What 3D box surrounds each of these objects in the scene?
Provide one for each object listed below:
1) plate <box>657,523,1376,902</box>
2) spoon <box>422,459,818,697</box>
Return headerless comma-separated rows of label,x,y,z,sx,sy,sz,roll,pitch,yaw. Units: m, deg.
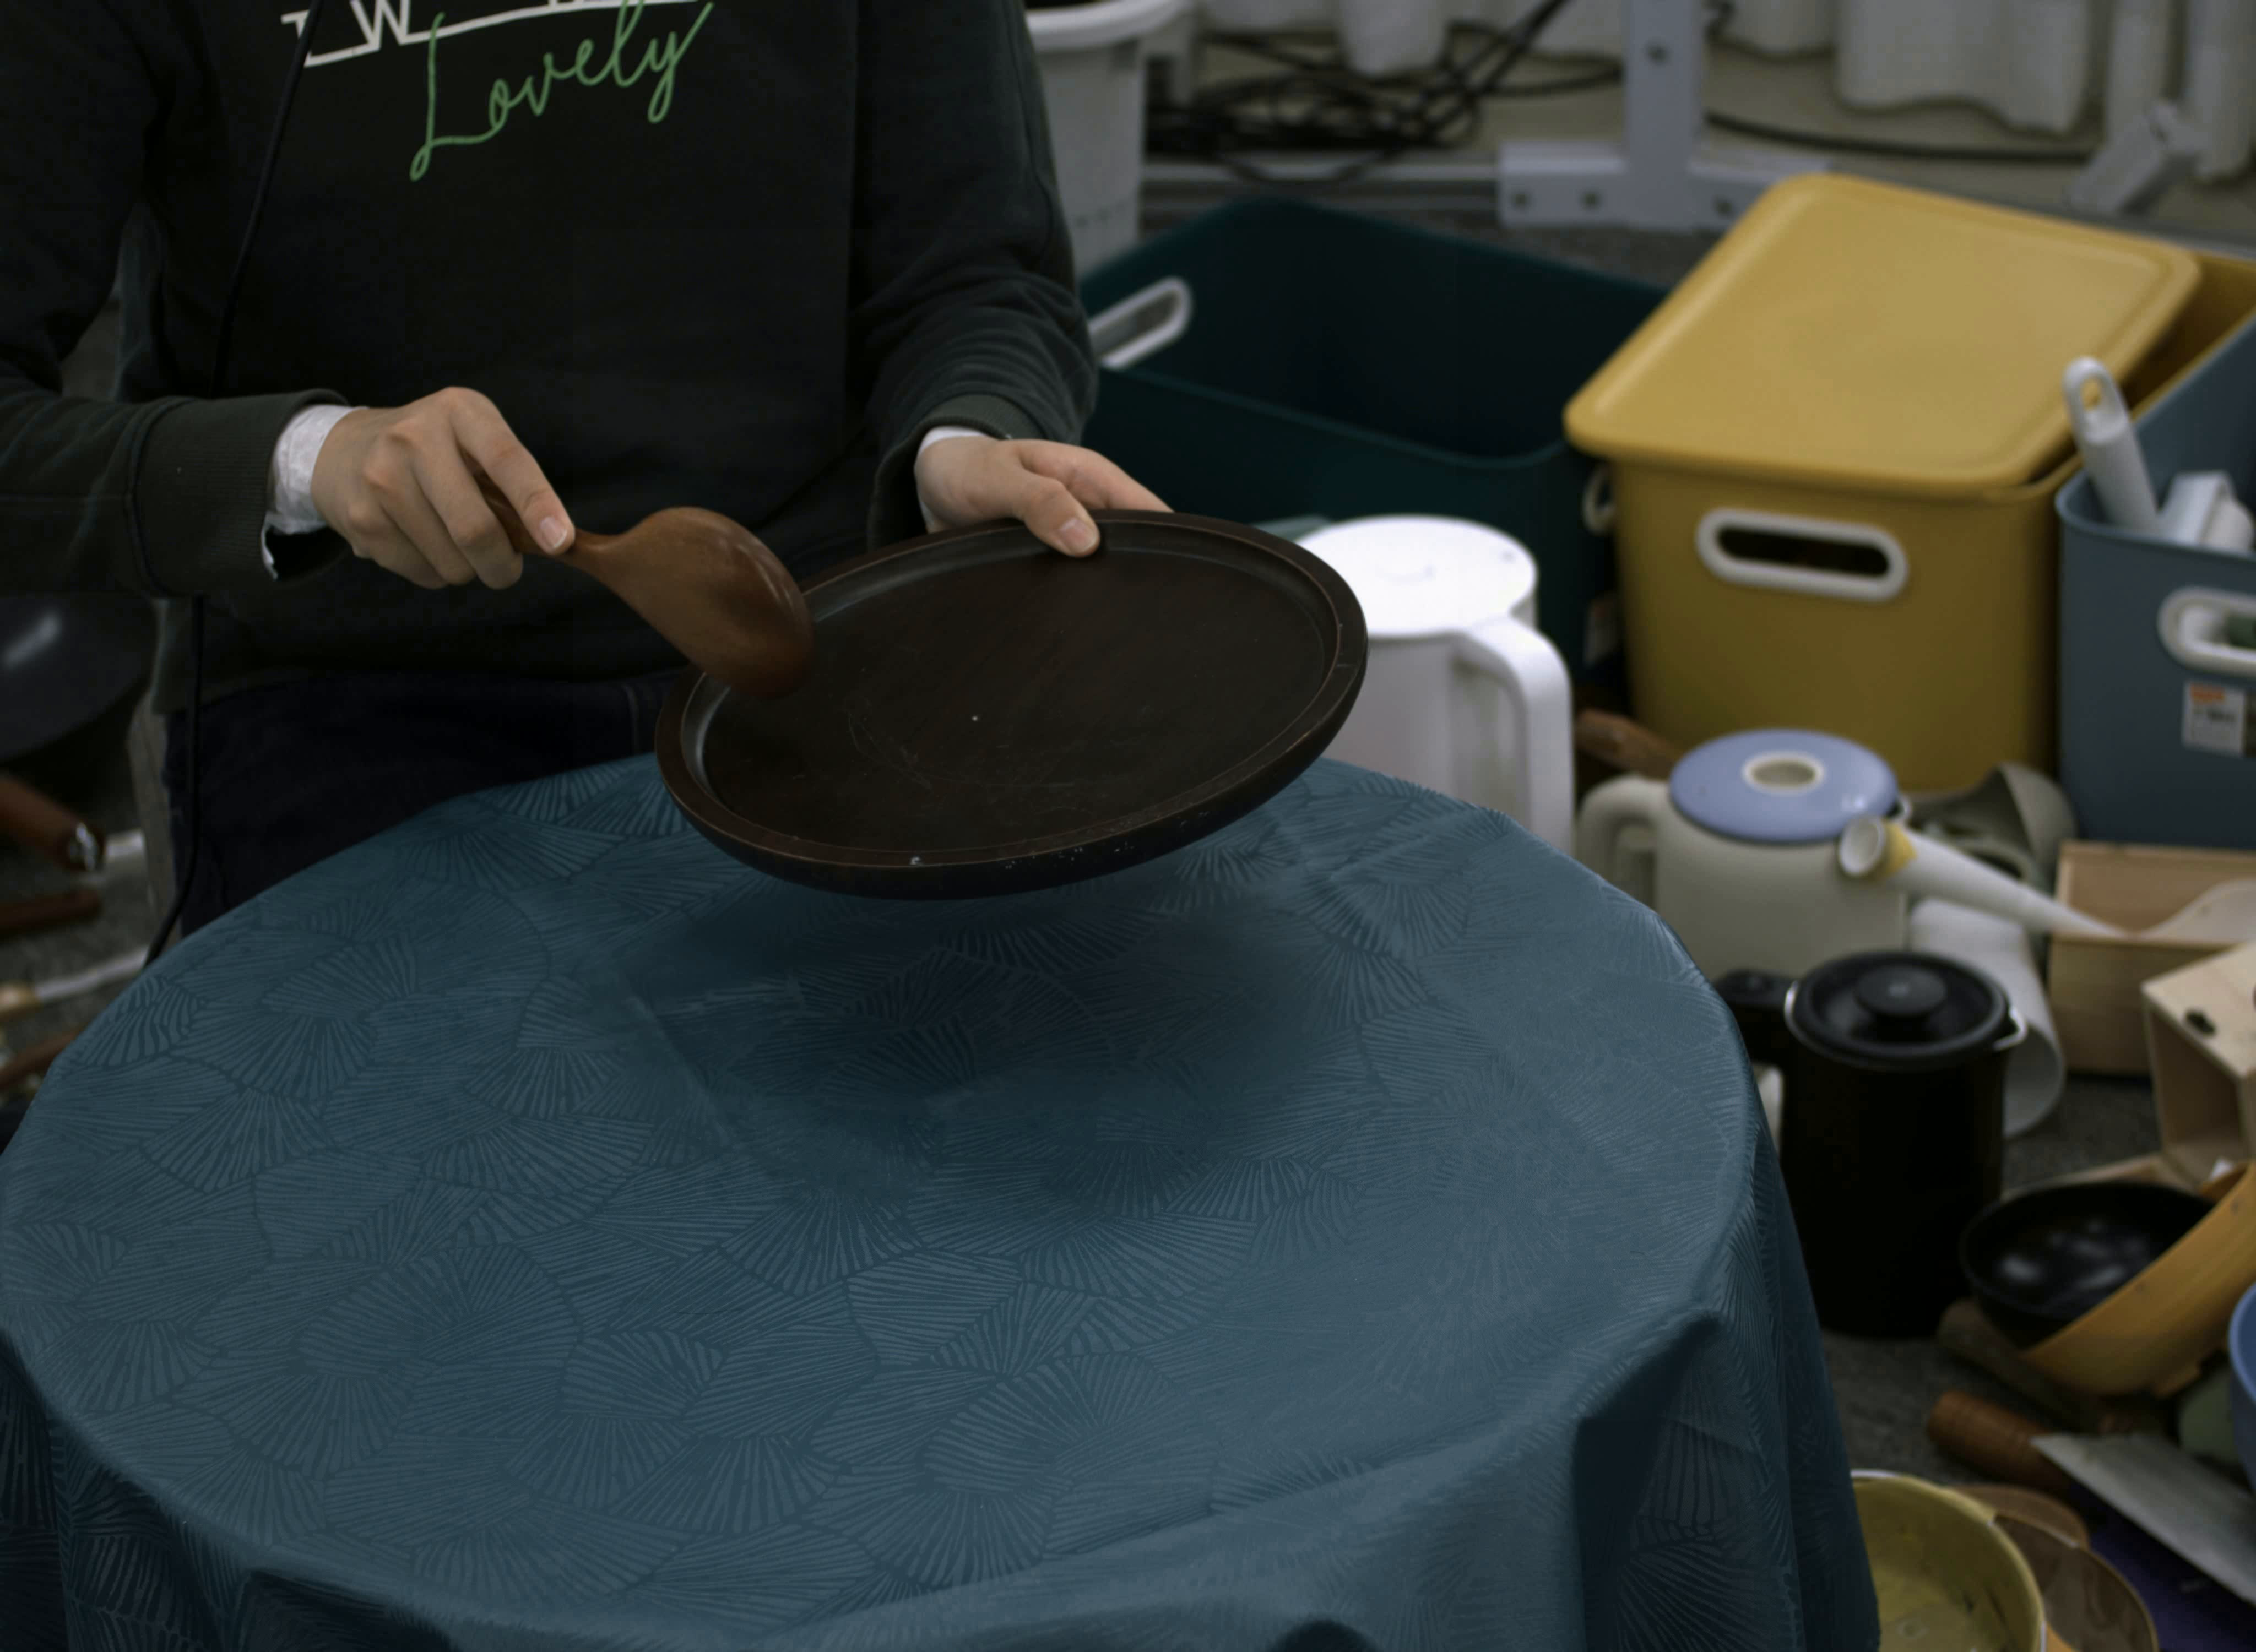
plate,-0.039,-0.042,1.962,0.253,0.029,0.259,-6,30,4
spoon,-0.184,-0.094,2.000,0.017,0.074,0.215,-35,38,-29
